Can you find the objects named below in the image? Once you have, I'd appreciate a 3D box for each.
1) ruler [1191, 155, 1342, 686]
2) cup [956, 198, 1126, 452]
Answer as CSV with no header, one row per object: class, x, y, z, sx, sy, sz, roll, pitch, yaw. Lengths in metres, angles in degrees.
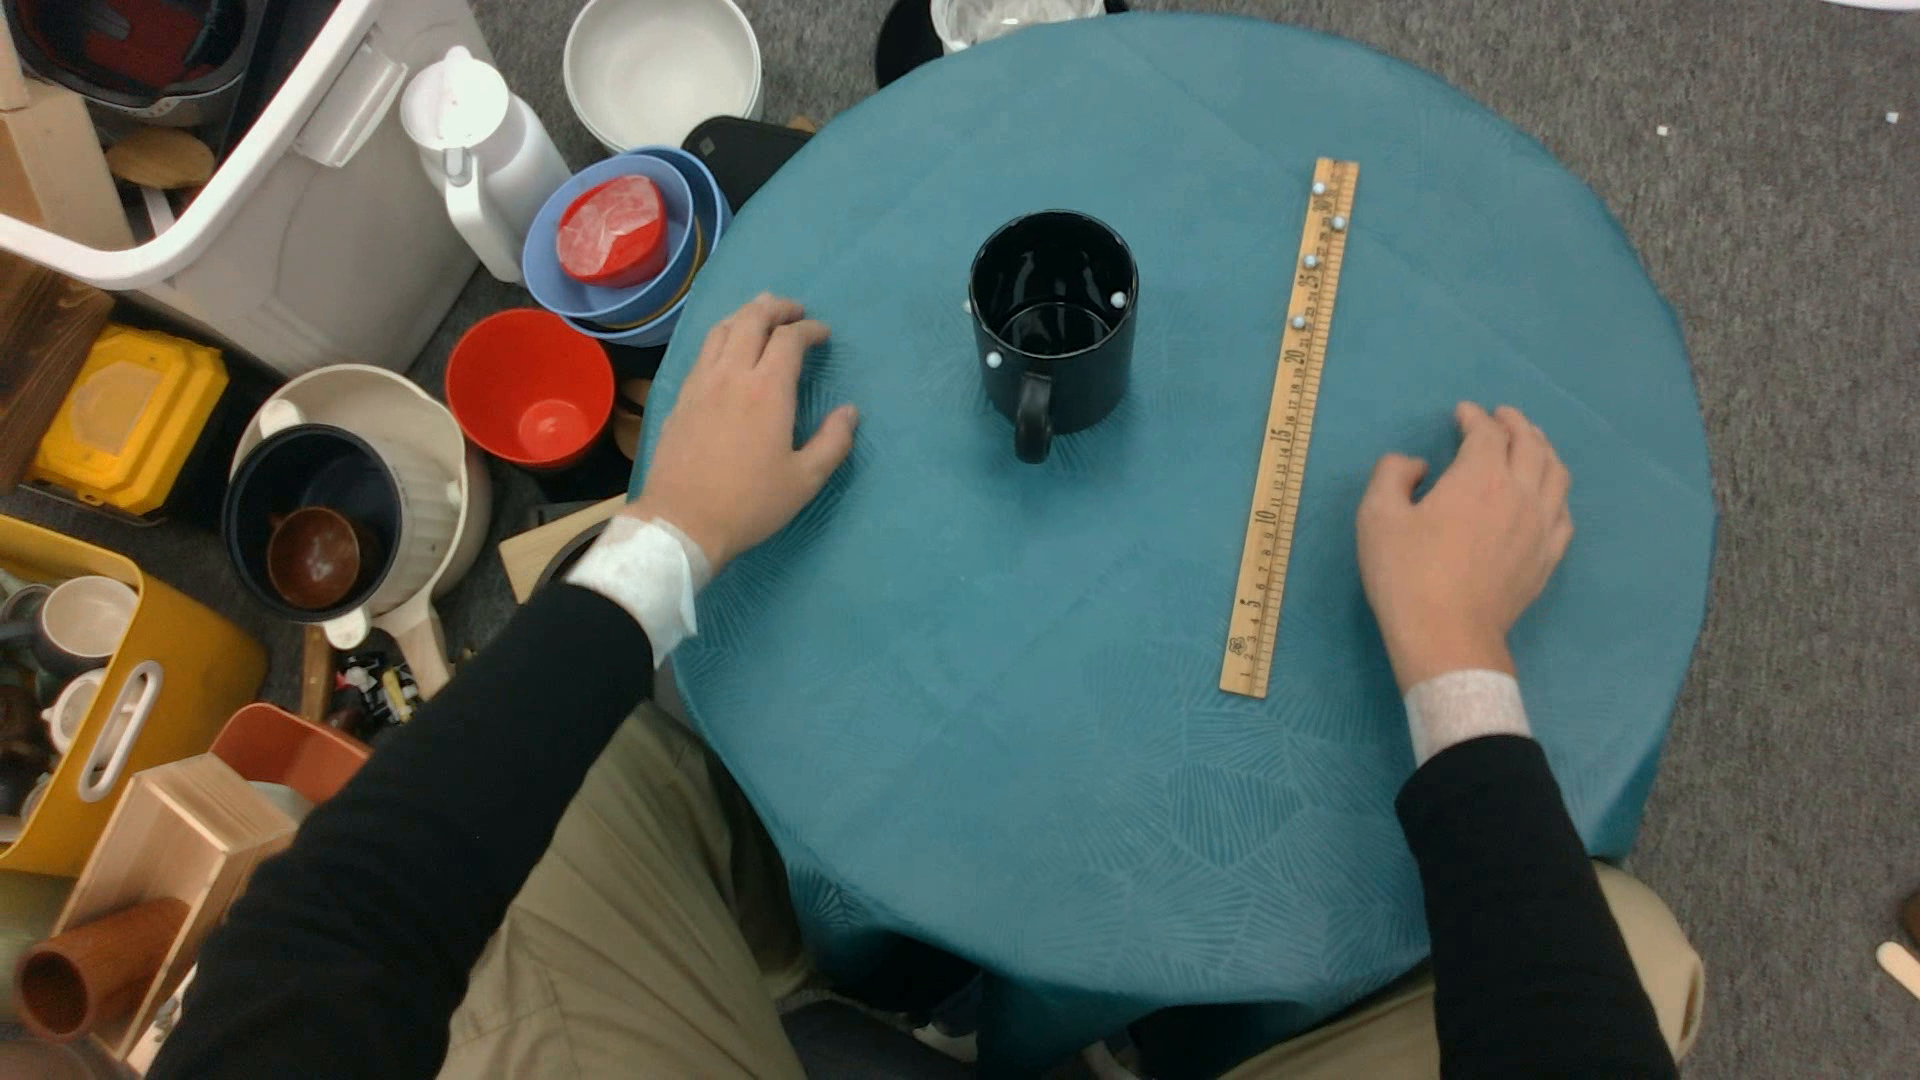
ruler,0.177,-0.079,0.777,0.027,0.022,0.333,12,72,12
cup,0.040,-0.107,0.748,0.088,0.105,0.124,12,74,6
